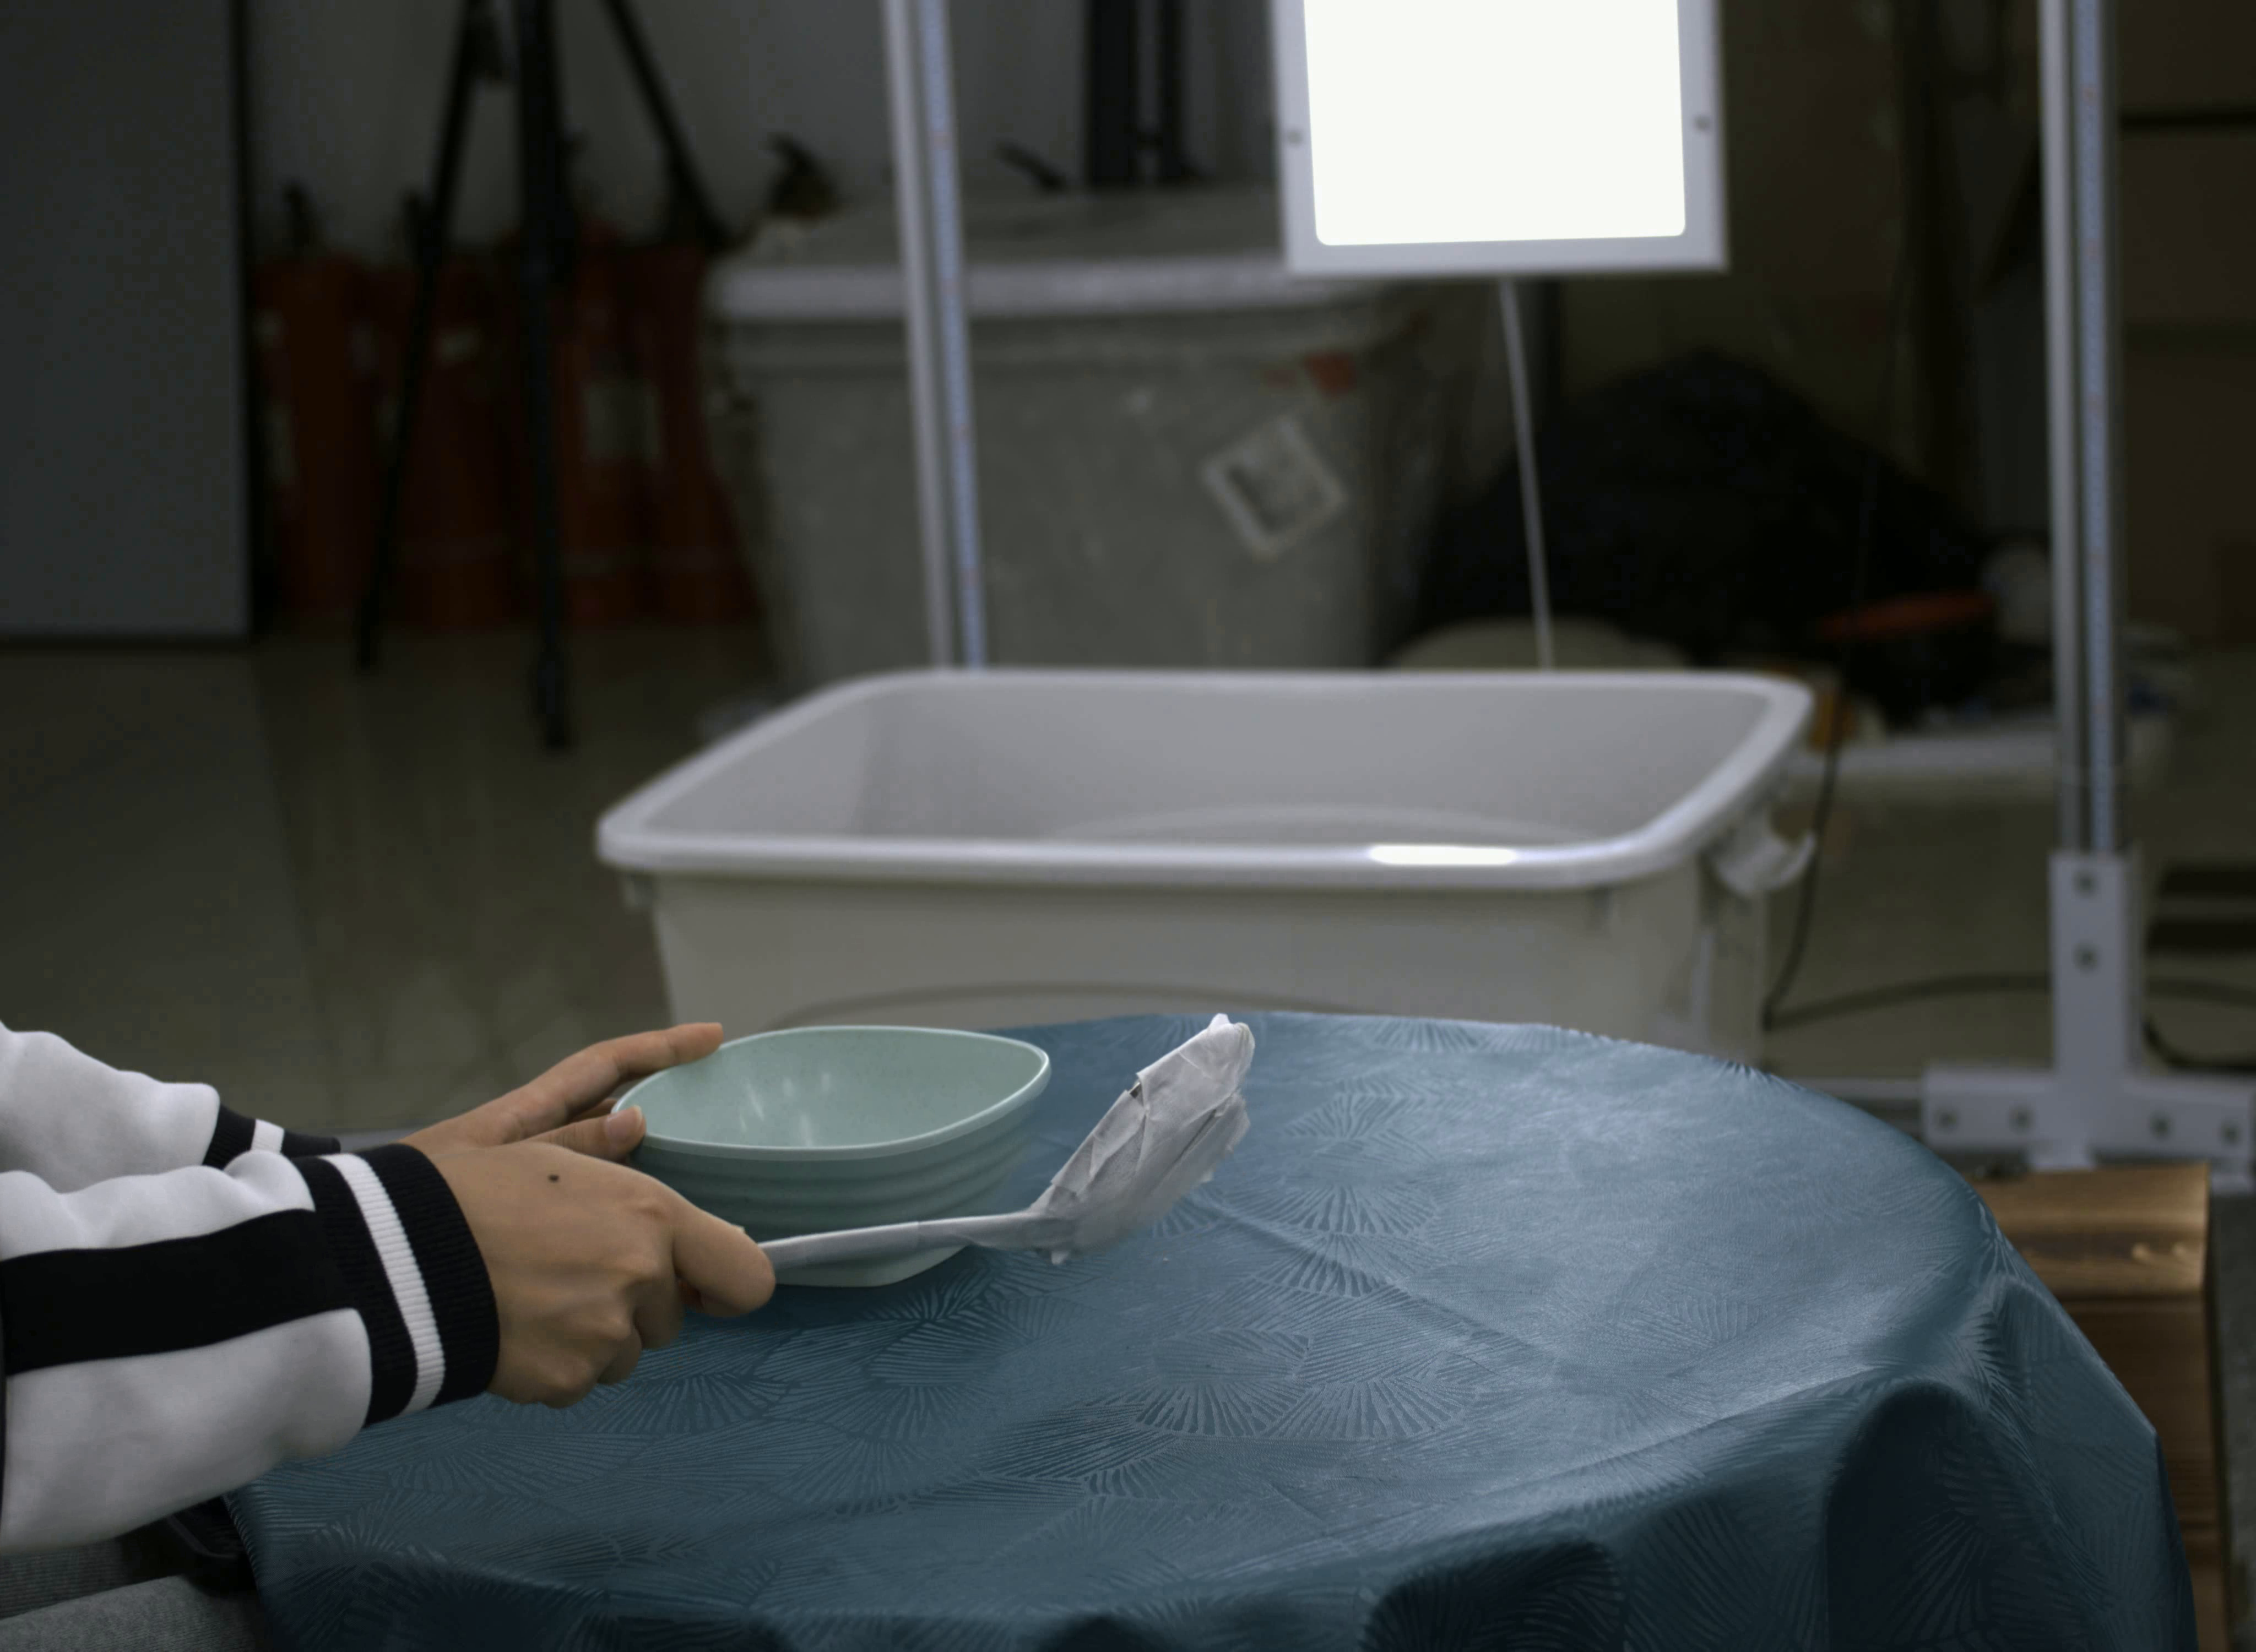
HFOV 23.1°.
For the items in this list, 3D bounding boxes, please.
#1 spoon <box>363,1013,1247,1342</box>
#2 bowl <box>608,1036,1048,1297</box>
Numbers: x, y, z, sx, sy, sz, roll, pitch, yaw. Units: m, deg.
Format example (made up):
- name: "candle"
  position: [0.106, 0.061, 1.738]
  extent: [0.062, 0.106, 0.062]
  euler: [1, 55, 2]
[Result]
- name: "spoon"
  position: [-0.093, 0.111, 1.642]
  extent: [0.274, 0.101, 0.059]
  euler: [-7, 50, -9]
- name: "bowl"
  position: [-0.098, 0.118, 1.861]
  extent: [0.151, 0.059, 0.151]
  euler: [-5, 14, 0]
